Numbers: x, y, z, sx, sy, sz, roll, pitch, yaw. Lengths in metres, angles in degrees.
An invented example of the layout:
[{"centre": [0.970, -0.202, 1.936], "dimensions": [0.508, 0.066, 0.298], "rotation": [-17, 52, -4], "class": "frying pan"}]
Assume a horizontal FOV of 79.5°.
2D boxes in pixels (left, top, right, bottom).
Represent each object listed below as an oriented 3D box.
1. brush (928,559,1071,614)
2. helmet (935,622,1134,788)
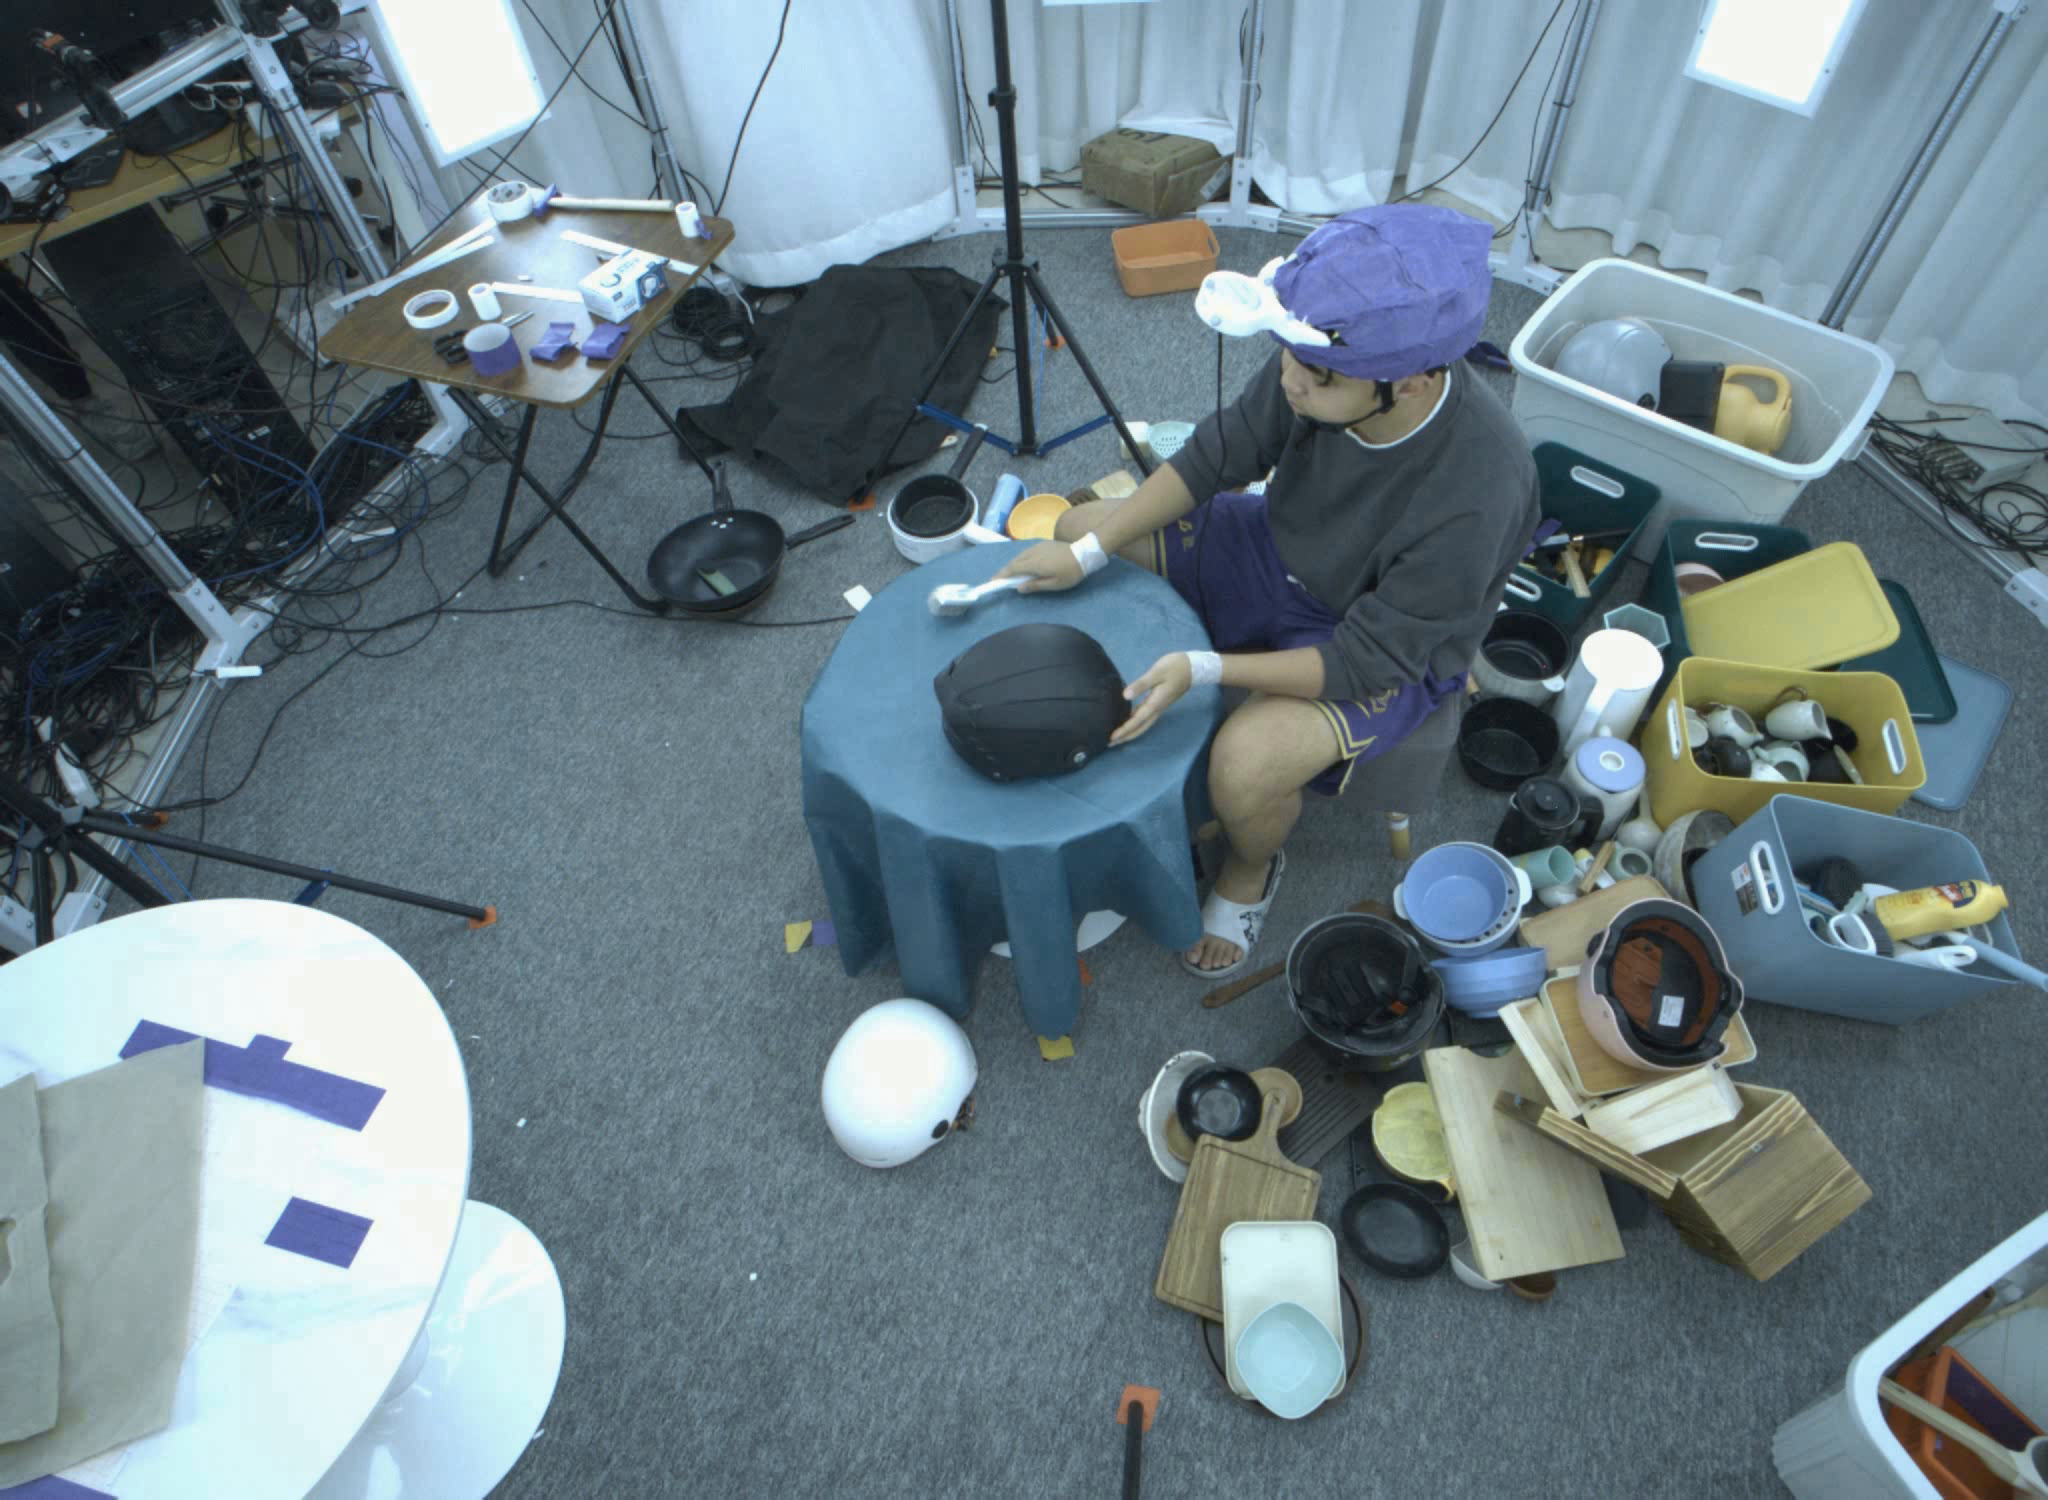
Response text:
[{"centre": [-0.038, -0.260, 1.959], "dimensions": [0.247, 0.050, 0.034], "rotation": [-16, 61, -24], "class": "brush"}, {"centre": [0.013, -0.085, 1.752], "dimensions": [0.278, 0.174, 0.242], "rotation": [-17, 56, -6], "class": "helmet"}]
